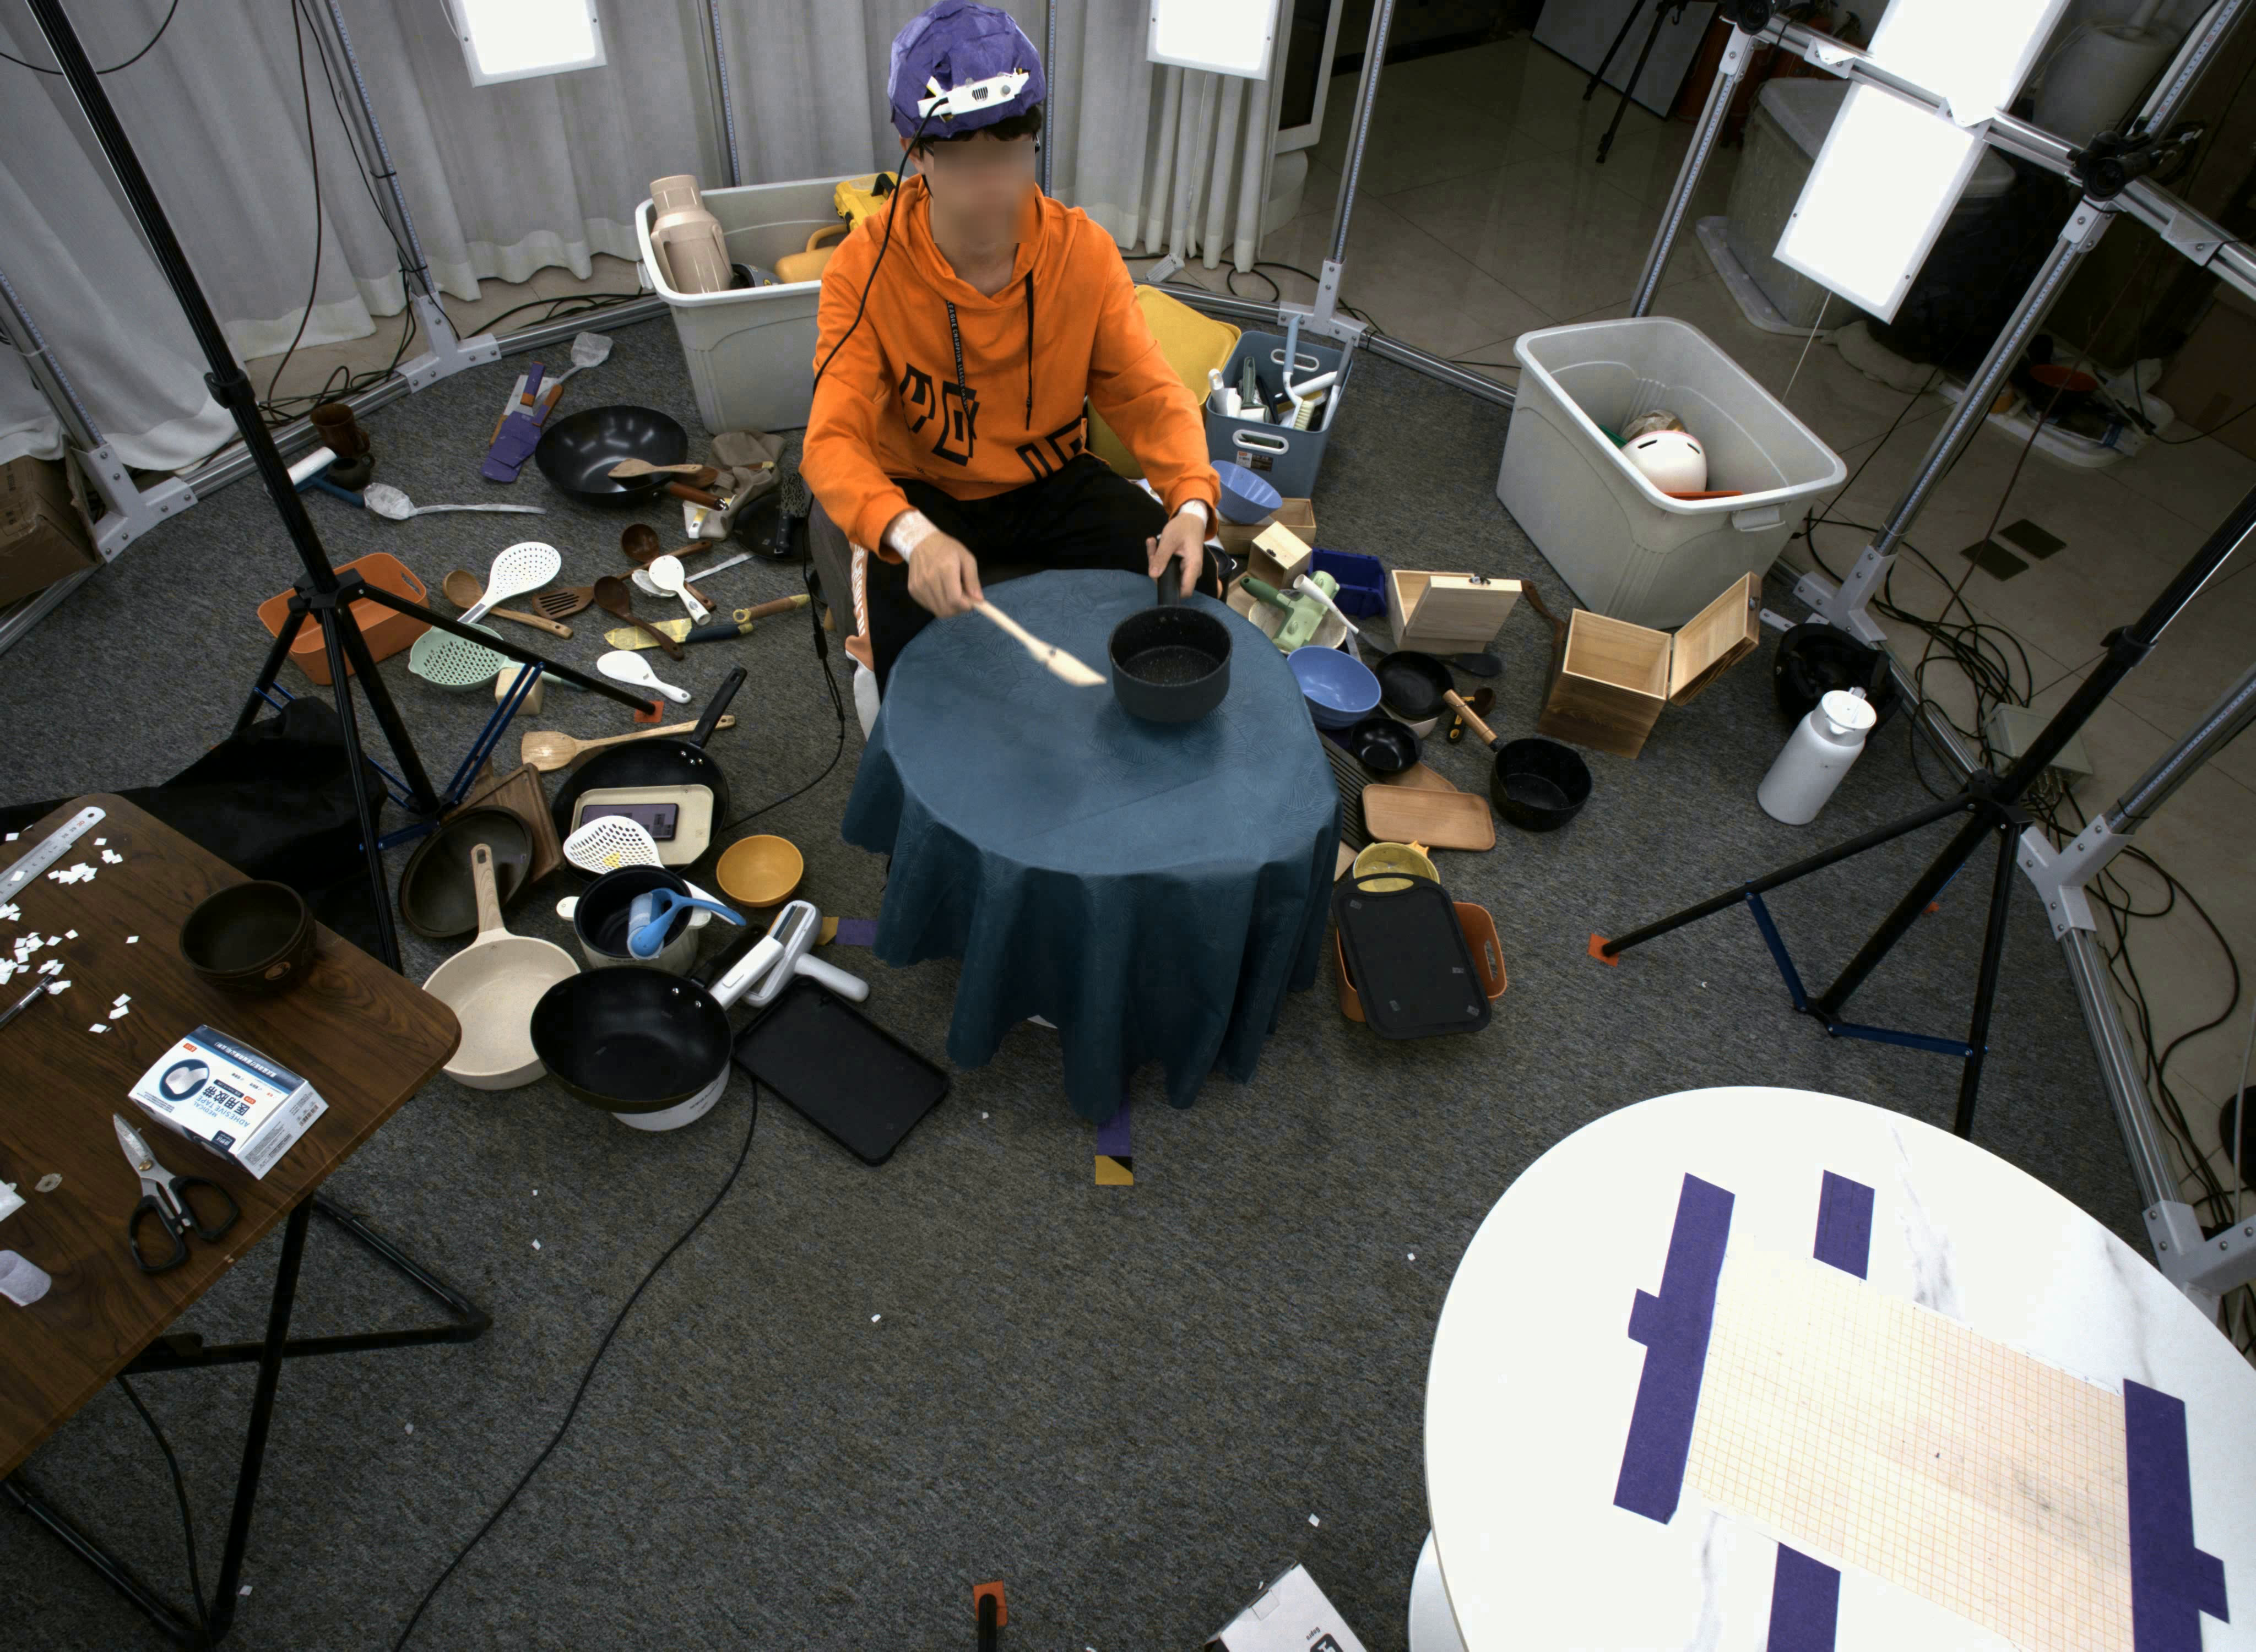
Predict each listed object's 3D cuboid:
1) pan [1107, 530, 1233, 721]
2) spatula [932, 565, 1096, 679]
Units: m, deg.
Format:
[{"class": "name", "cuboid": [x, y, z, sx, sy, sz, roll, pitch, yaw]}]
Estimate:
[{"class": "pan", "cuboid": [0.062, -0.288, 1.828, 0.172, 0.084, 0.337, 1, 48, 4]}, {"class": "spatula", "cuboid": [-0.163, -0.274, 1.720, 0.297, 0.010, 0.072, 40, 26, 26]}]
